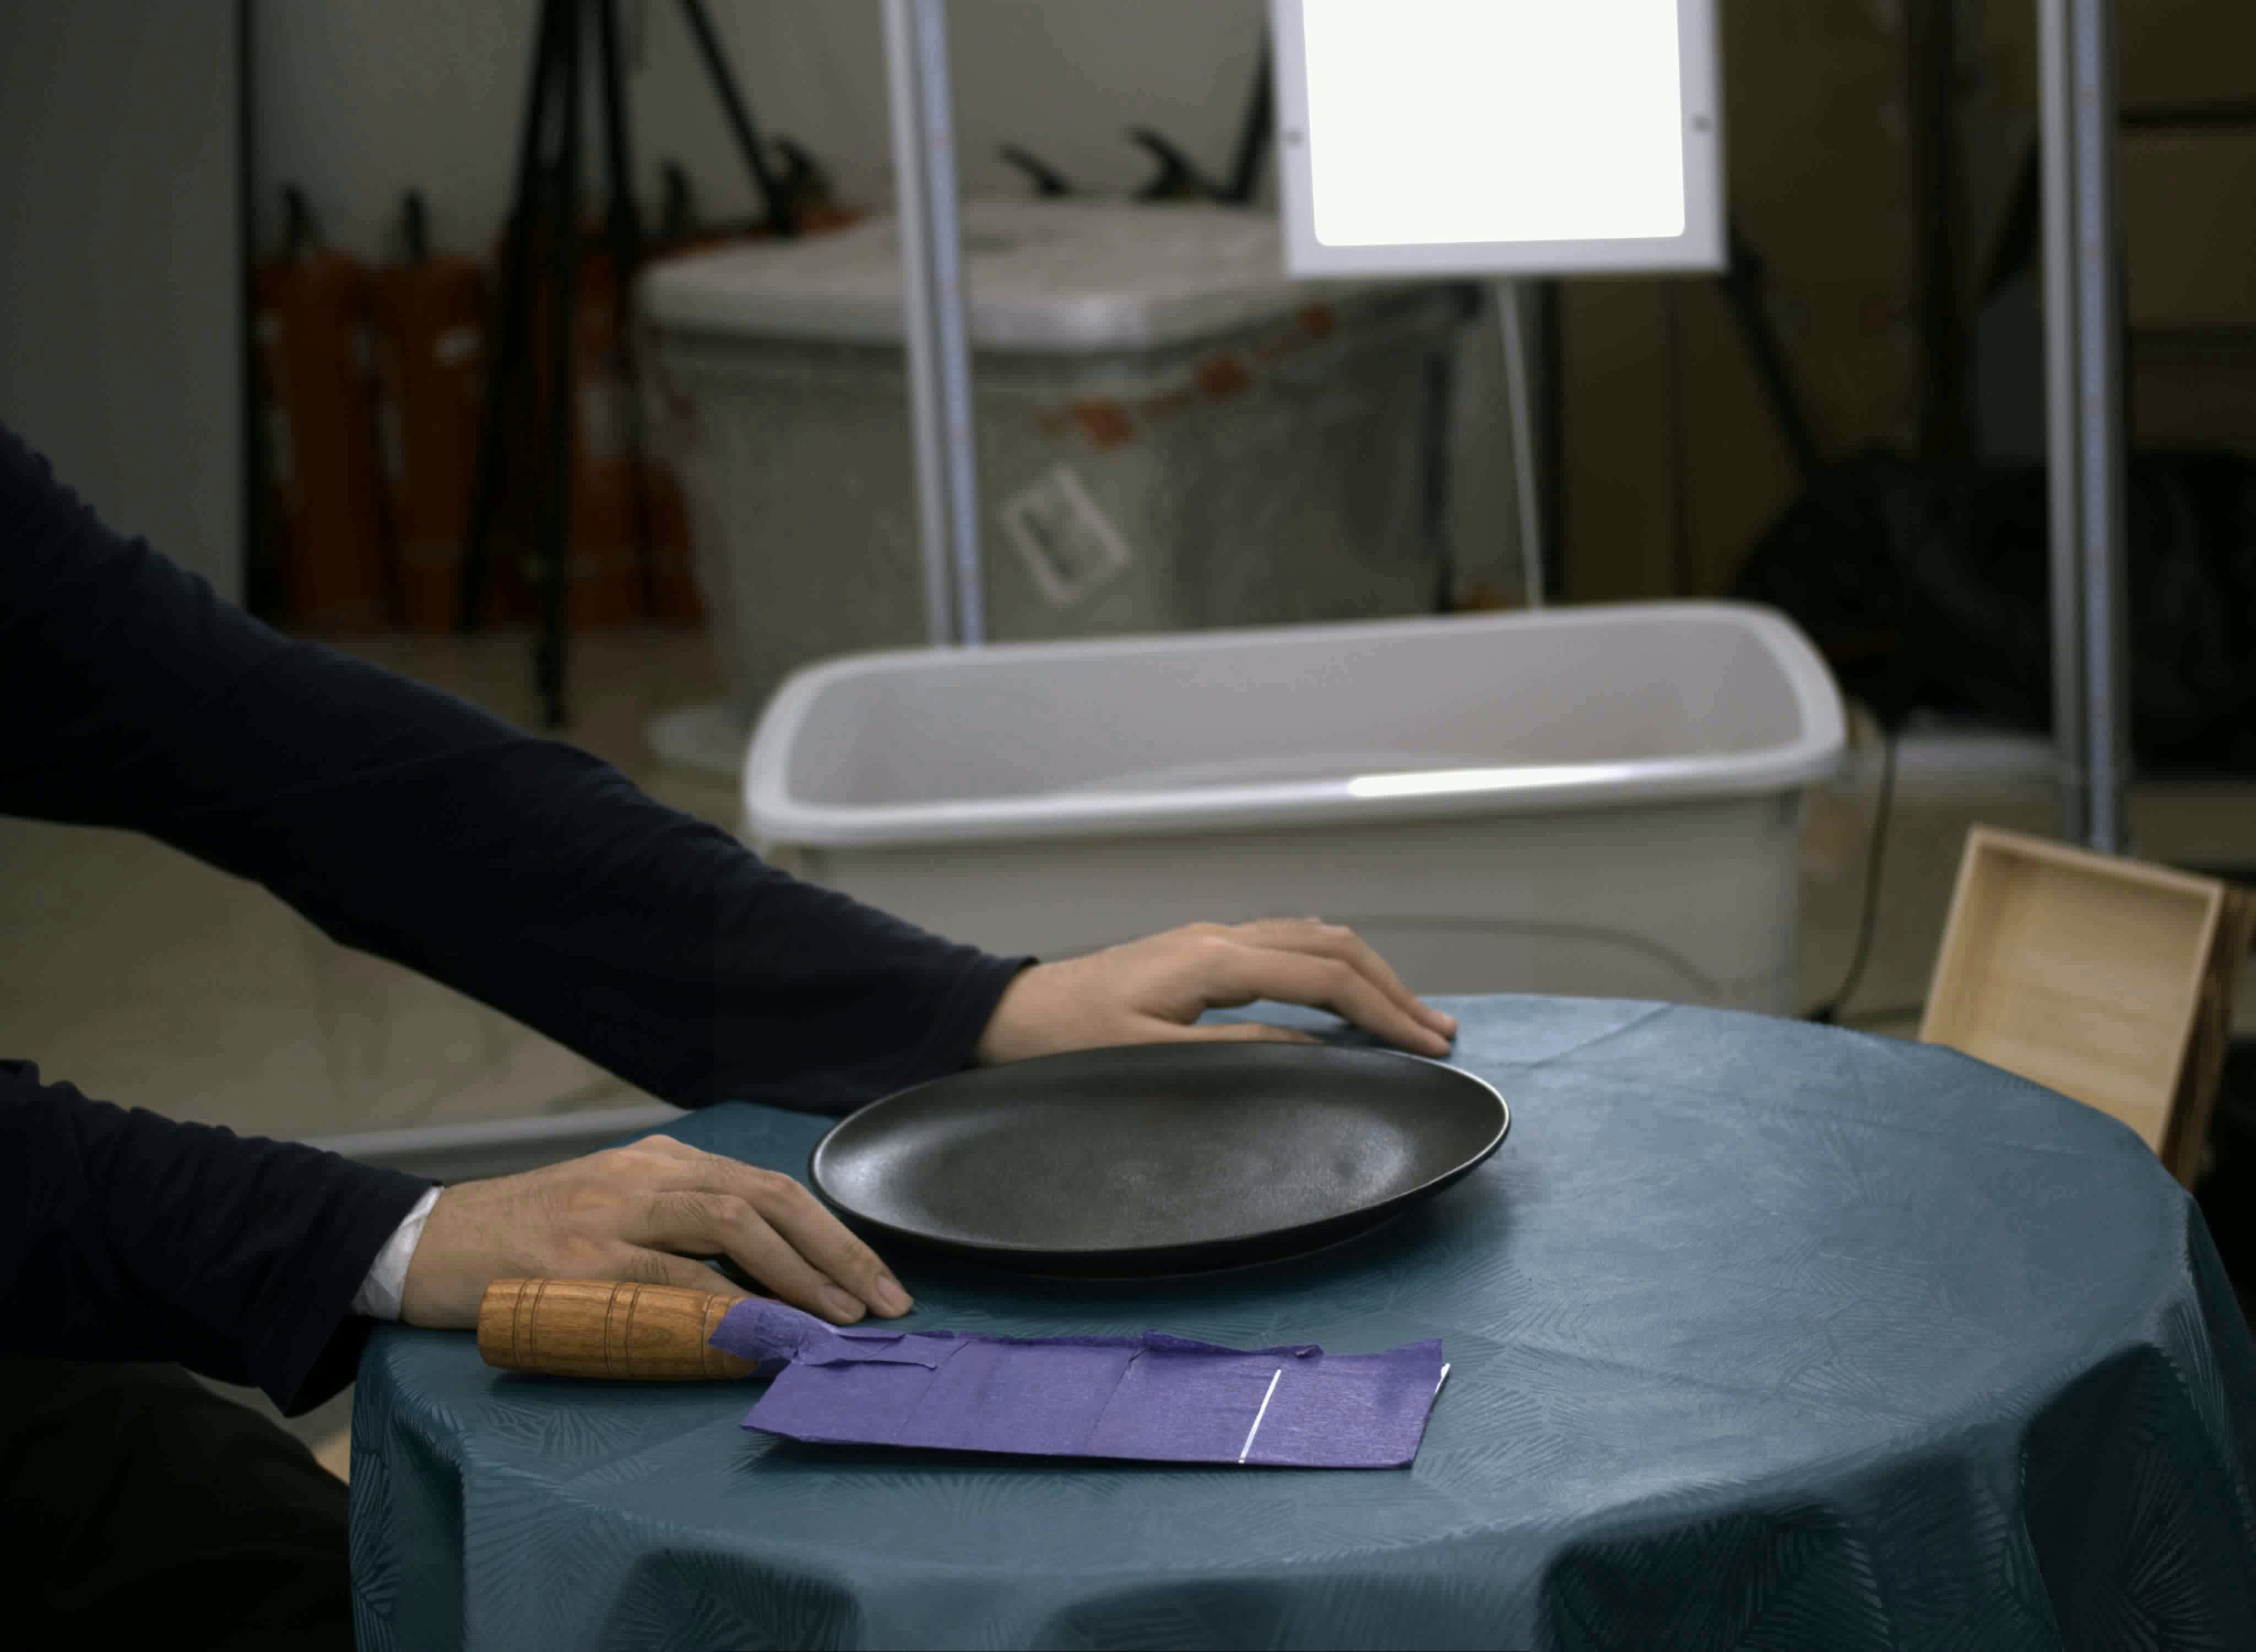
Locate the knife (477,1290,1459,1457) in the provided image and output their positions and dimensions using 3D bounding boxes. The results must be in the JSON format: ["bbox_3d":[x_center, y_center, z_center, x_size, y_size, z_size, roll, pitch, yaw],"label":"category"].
[{"bbox_3d":[-0.058,0.169,1.696,0.318,0.032,0.102,-1,14,15],"label":"knife"}]

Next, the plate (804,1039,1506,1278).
[{"bbox_3d":[0.010,0.117,1.893,0.244,0.023,0.244,-5,14,0],"label":"plate"}]
